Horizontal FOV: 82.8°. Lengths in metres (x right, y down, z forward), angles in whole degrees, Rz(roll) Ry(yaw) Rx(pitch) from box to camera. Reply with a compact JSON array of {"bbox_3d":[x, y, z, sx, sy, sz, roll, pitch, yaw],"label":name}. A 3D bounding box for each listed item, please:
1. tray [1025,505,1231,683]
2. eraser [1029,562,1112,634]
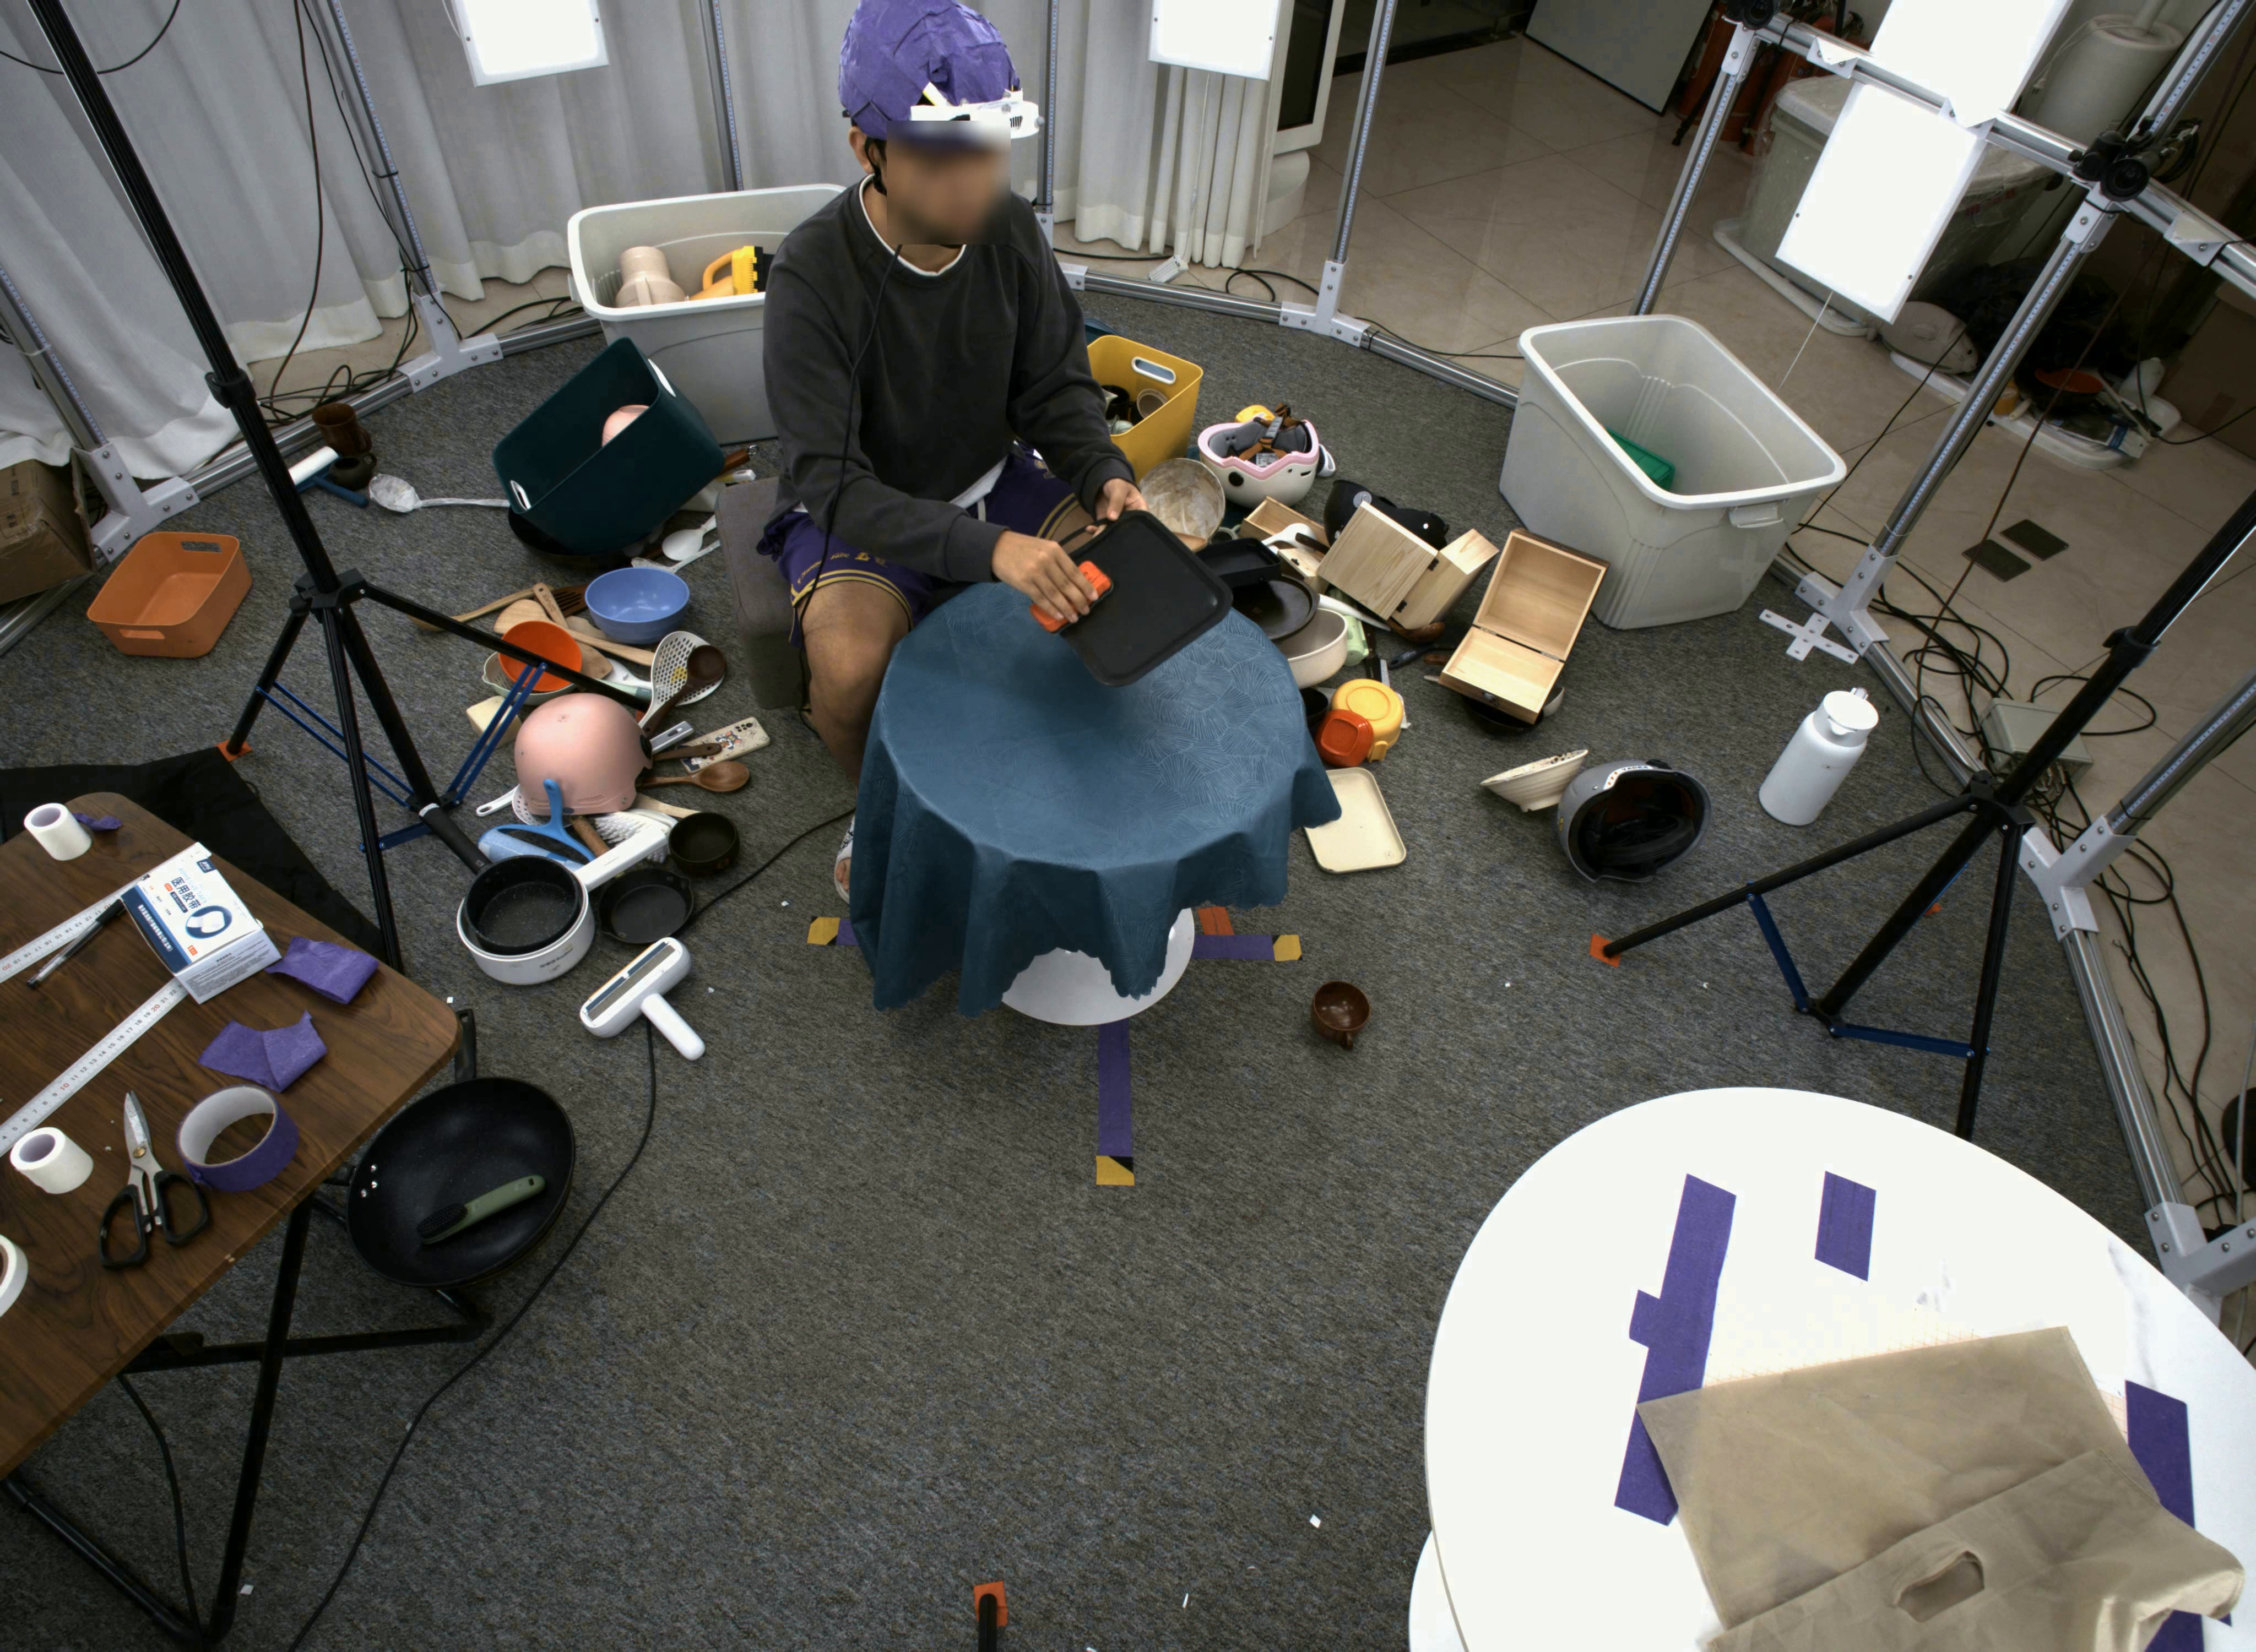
[{"bbox_3d":[-0.012,-0.323,1.730,0.211,0.009,0.333,-35,48,-2],"label":"tray"},{"bbox_3d":[-0.078,-0.308,1.731,0.108,0.022,0.060,-39,49,-9],"label":"eraser"}]
